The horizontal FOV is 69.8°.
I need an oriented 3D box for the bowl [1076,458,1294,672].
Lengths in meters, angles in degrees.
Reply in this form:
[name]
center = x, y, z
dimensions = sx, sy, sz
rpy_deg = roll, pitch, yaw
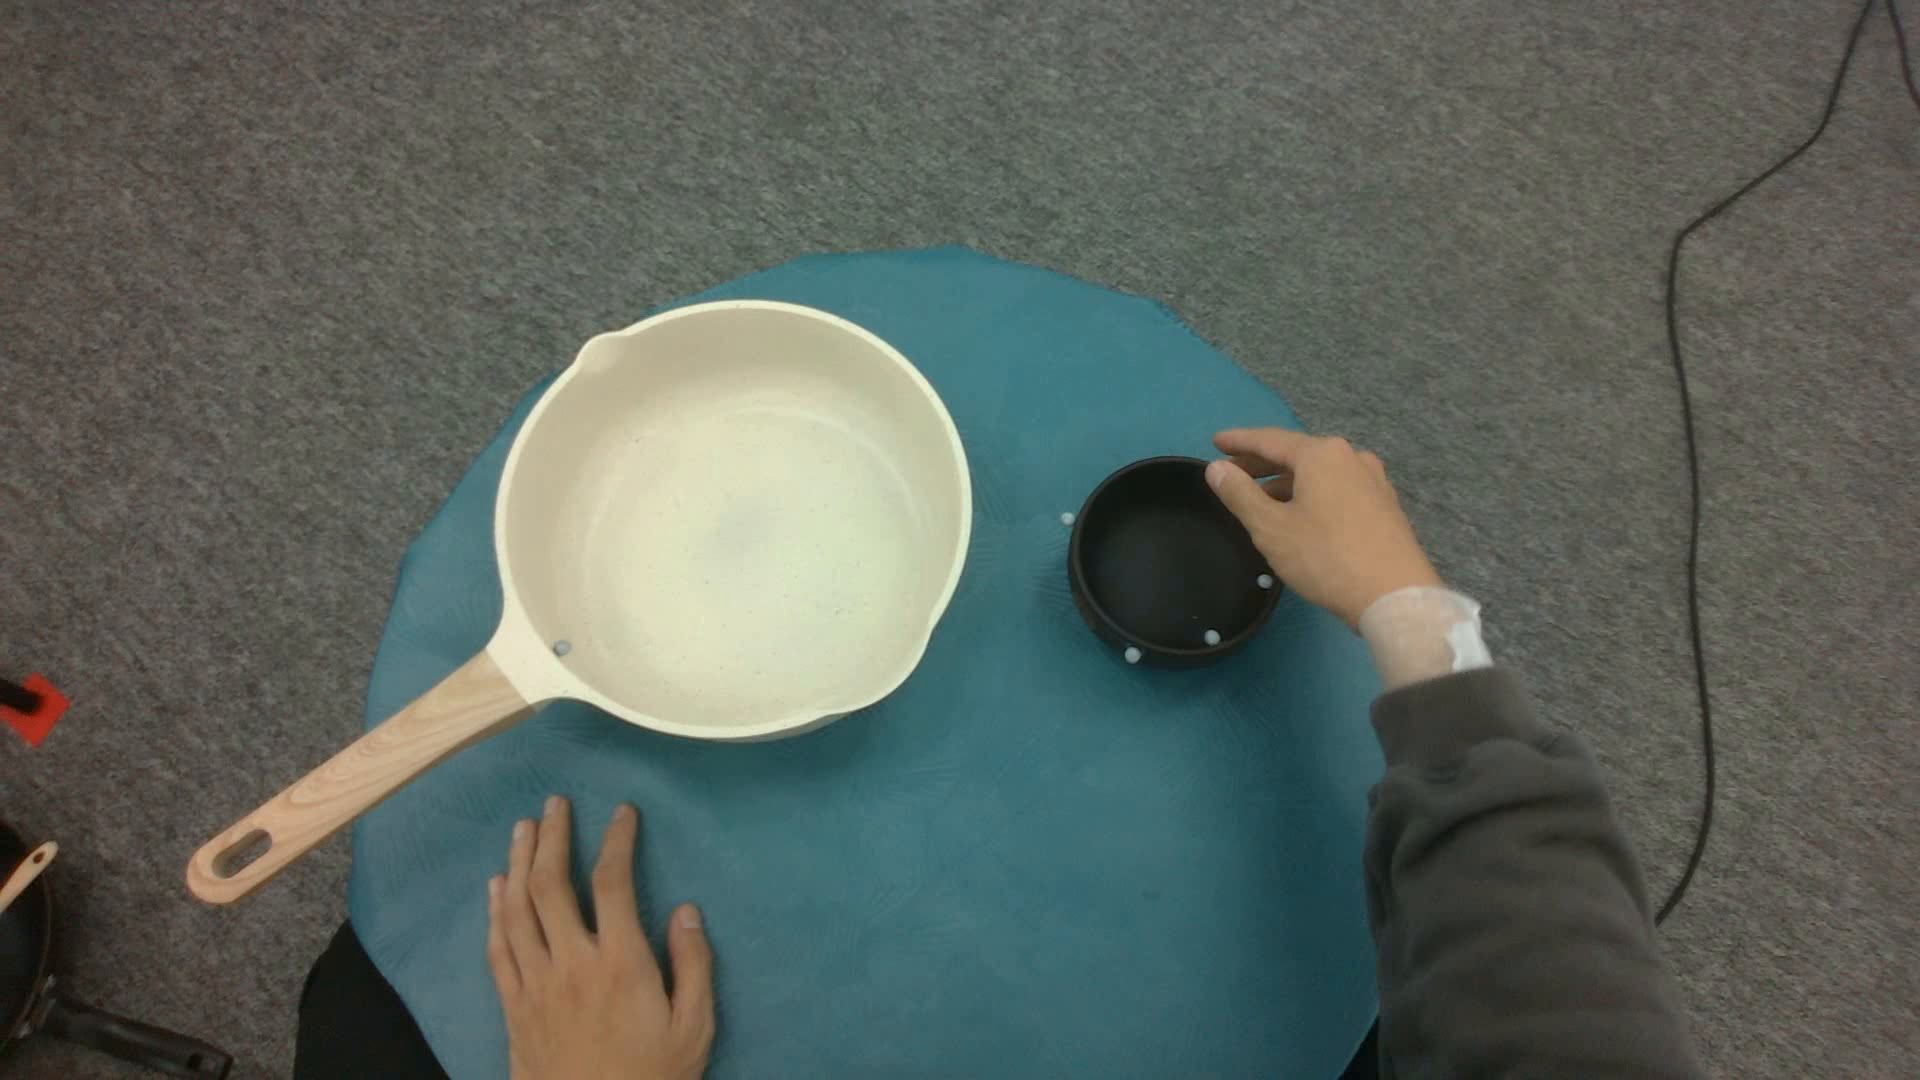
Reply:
[bowl]
center = 0.123, 0.019, 0.776
dimensions = 0.118, 0.069, 0.118
rpy_deg = 0, 68, -1

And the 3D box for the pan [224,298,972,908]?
[pan]
center = -0.188, 0.048, 0.754
dimensions = 0.436, 0.101, 0.263
rpy_deg = -39, 75, -13
